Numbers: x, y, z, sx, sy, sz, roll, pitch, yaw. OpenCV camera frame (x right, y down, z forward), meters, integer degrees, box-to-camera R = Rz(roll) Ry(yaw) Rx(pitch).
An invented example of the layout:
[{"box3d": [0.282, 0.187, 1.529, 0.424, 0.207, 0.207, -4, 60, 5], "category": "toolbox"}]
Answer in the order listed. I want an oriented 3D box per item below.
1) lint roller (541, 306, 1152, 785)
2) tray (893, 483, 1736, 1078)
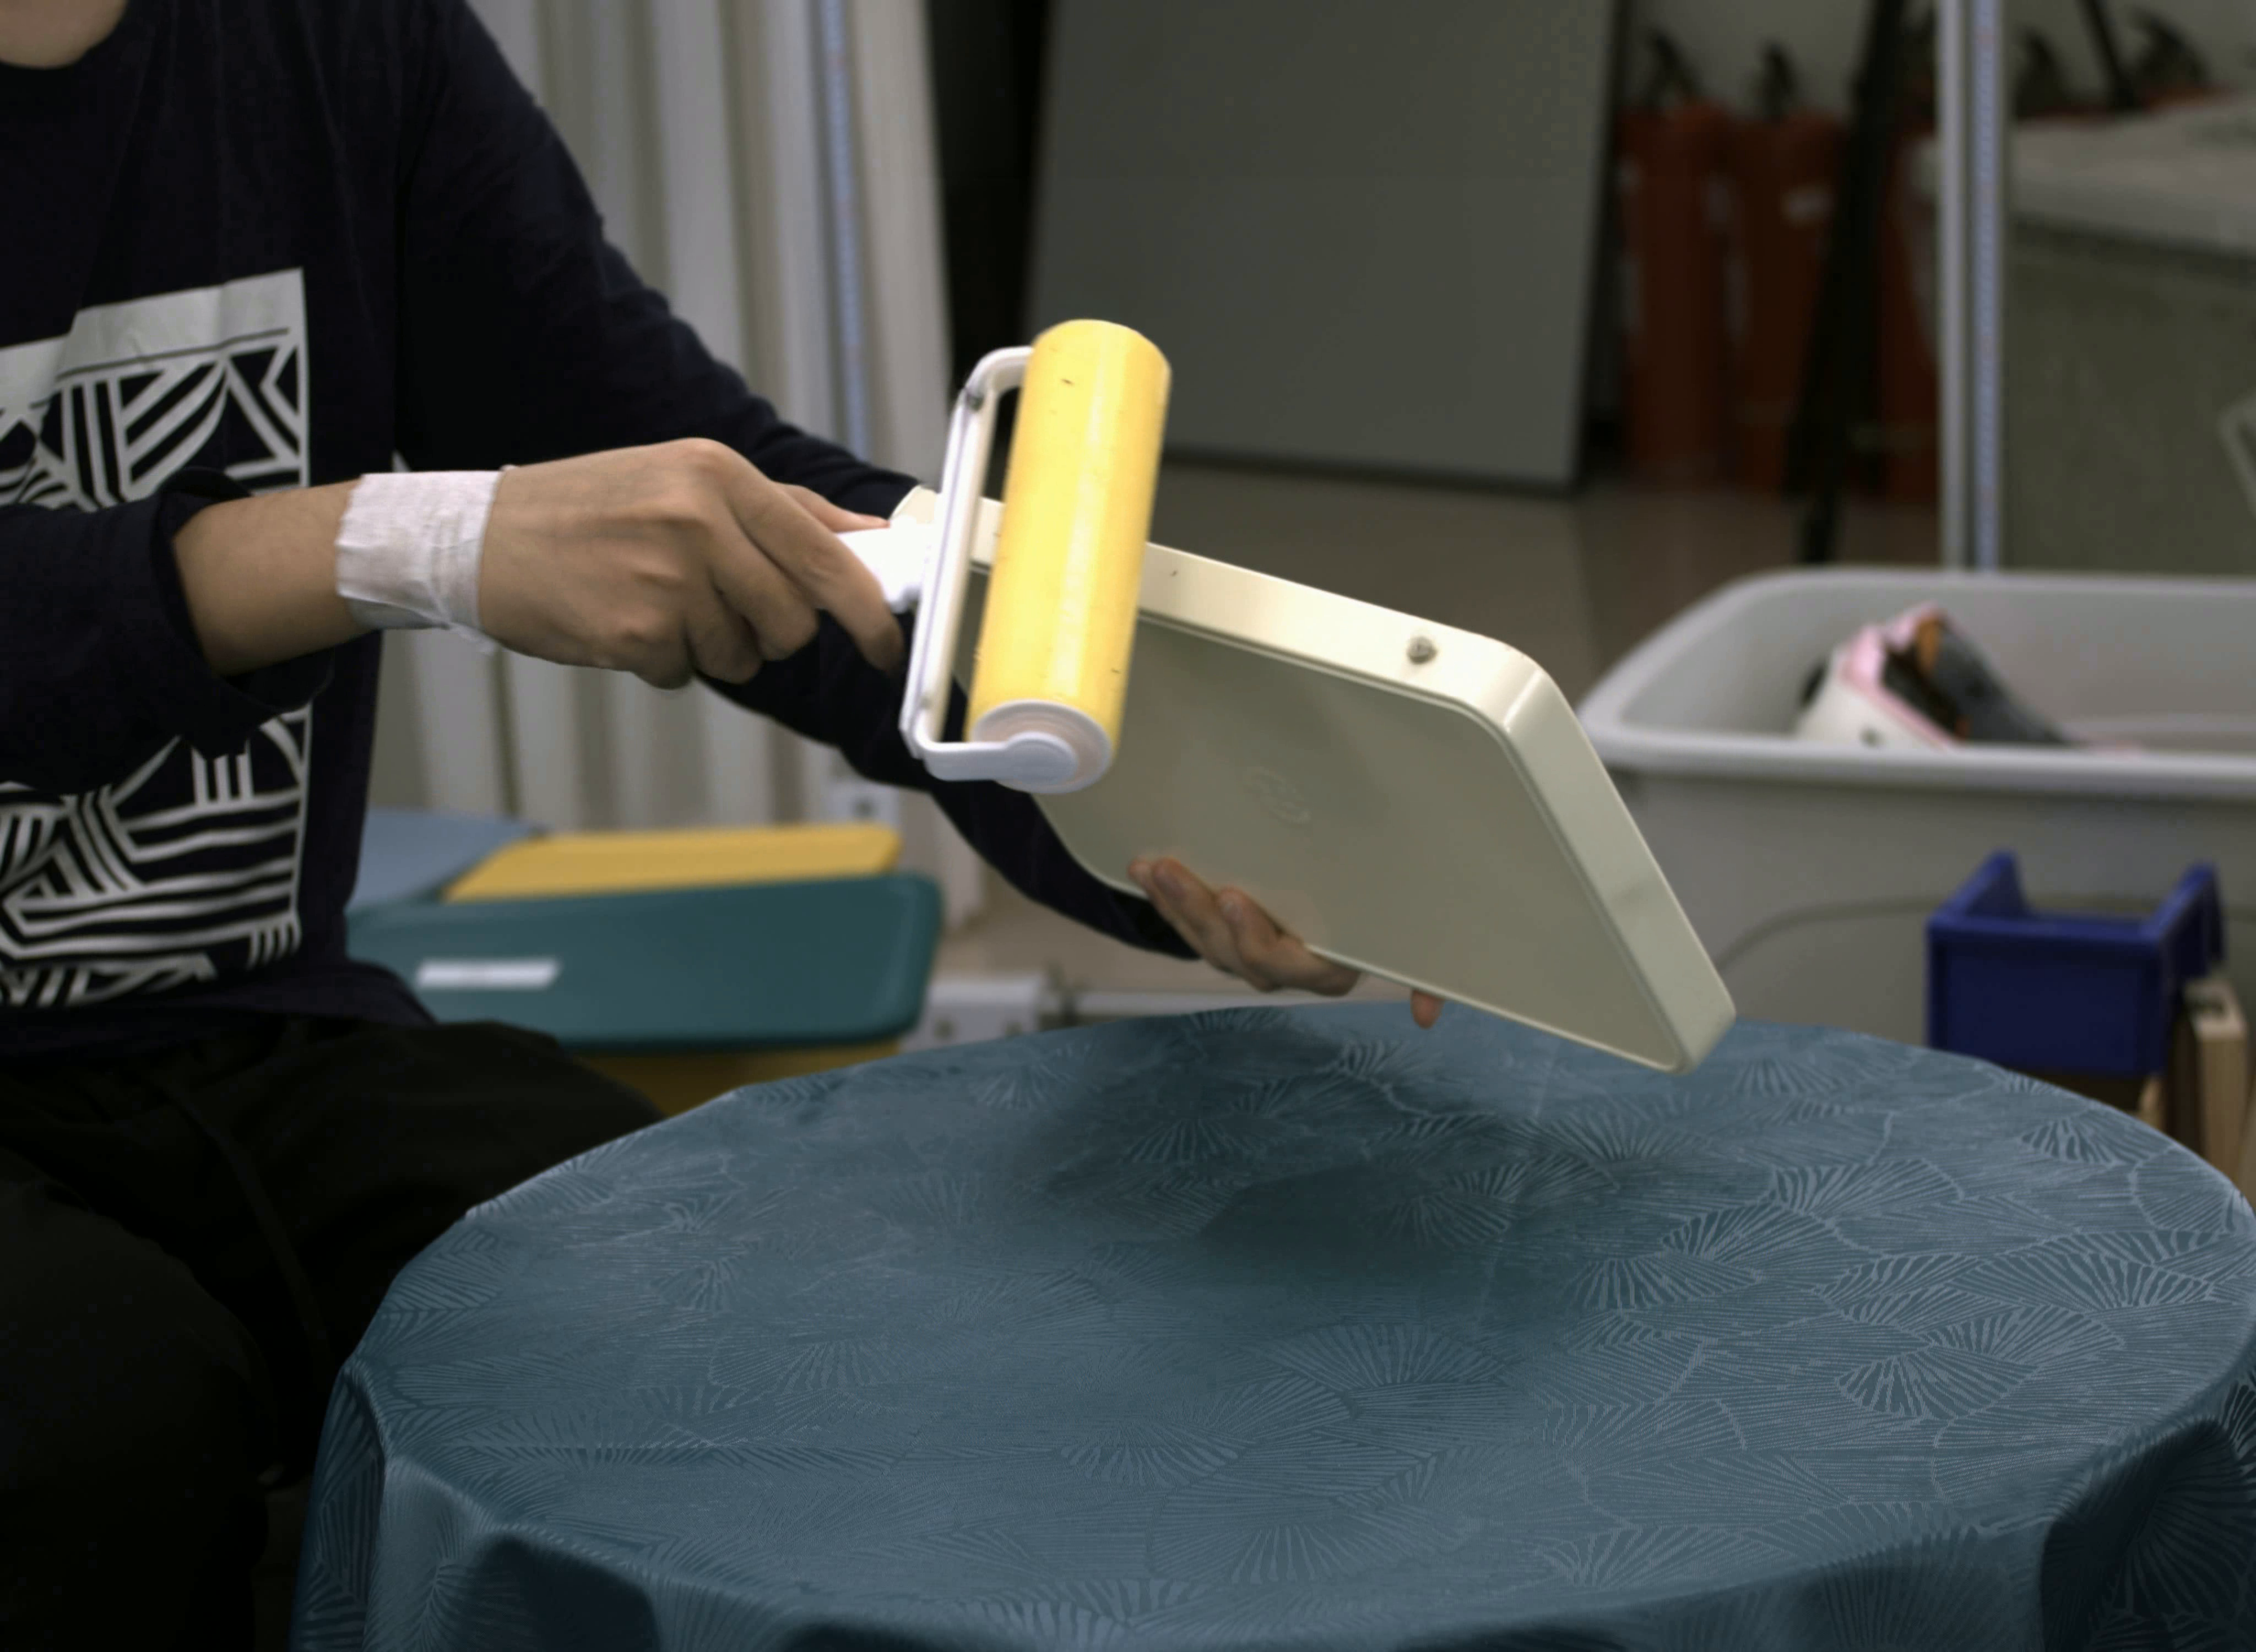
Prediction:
[{"box3d": [-0.092, -0.089, 1.693, 0.190, 0.051, 0.175, 1, 50, 6], "category": "lint roller"}, {"box3d": [0.055, -0.017, 1.793, 0.303, 0.190, 0.027, 17, 58, 45], "category": "tray"}]
